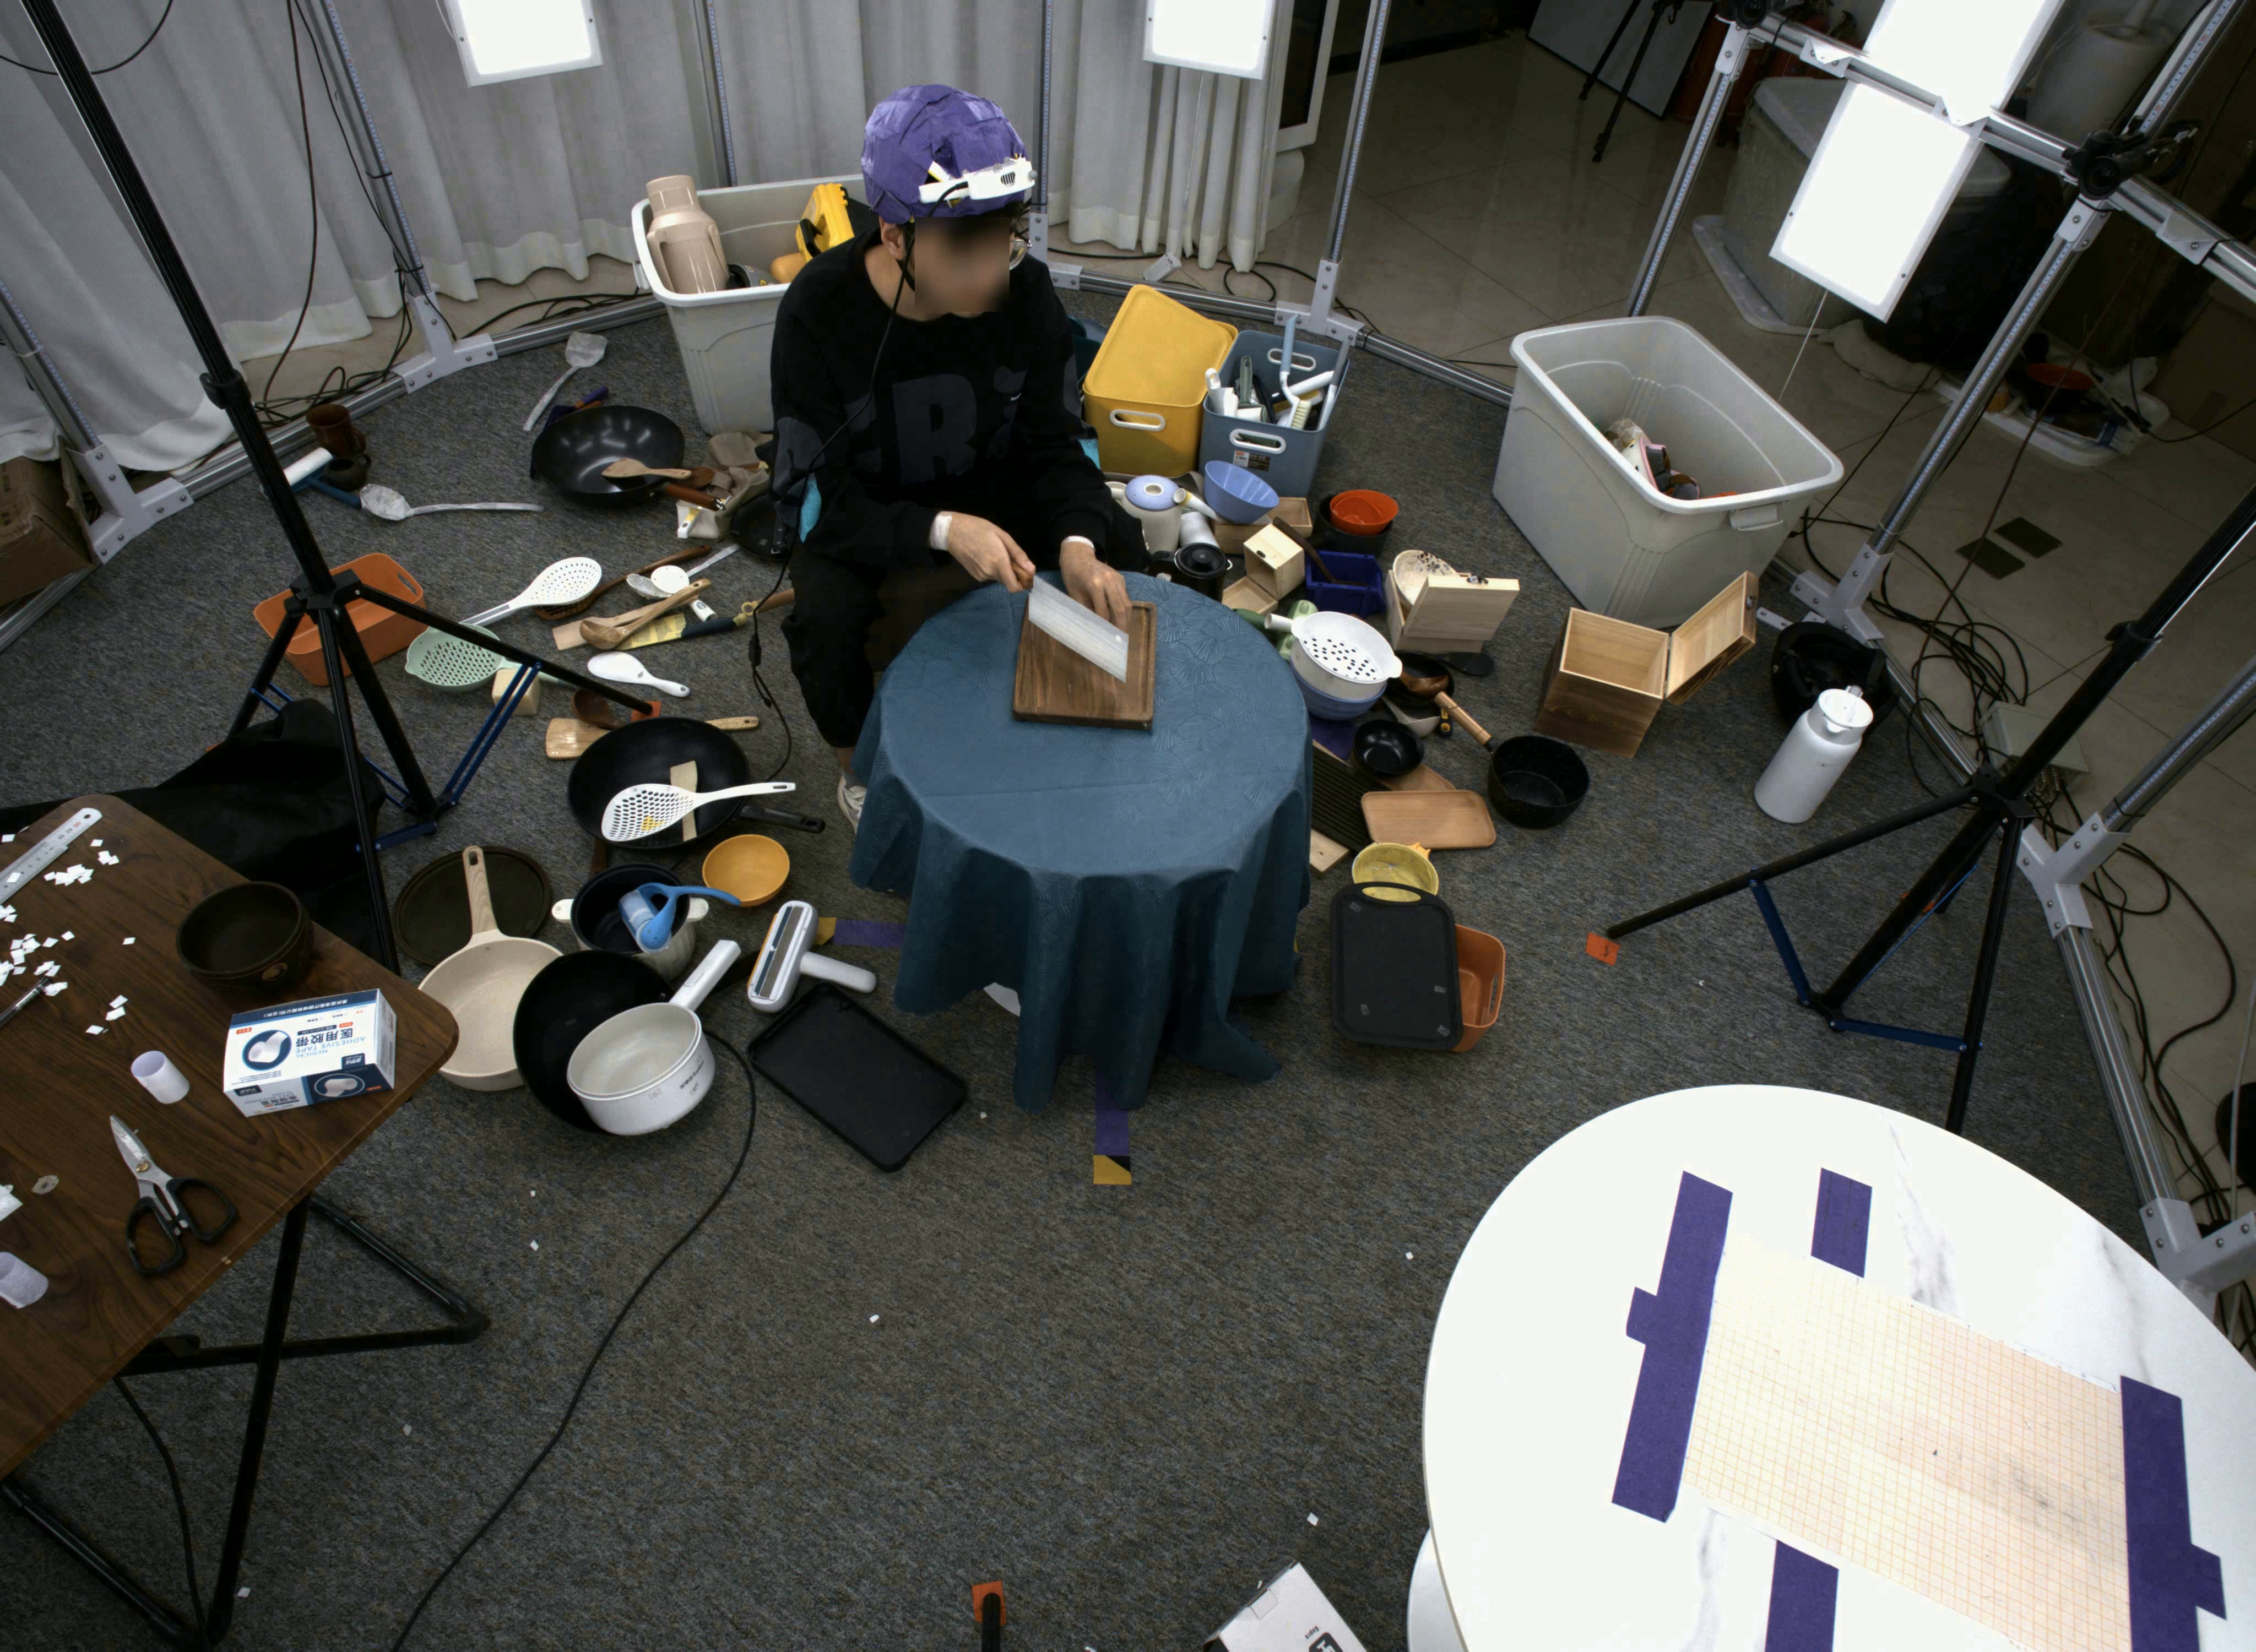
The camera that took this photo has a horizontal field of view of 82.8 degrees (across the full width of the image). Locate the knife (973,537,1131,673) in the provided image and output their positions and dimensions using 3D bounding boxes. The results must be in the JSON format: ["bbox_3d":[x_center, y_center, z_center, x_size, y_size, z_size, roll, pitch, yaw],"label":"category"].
[{"bbox_3d":[-0.109,-0.309,1.819,0.310,0.090,0.021,36,56,26],"label":"knife"}]

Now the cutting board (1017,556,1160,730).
[{"bbox_3d":[-0.052,-0.279,1.894,0.201,0.022,0.361,4,49,-1],"label":"cutting board"}]
